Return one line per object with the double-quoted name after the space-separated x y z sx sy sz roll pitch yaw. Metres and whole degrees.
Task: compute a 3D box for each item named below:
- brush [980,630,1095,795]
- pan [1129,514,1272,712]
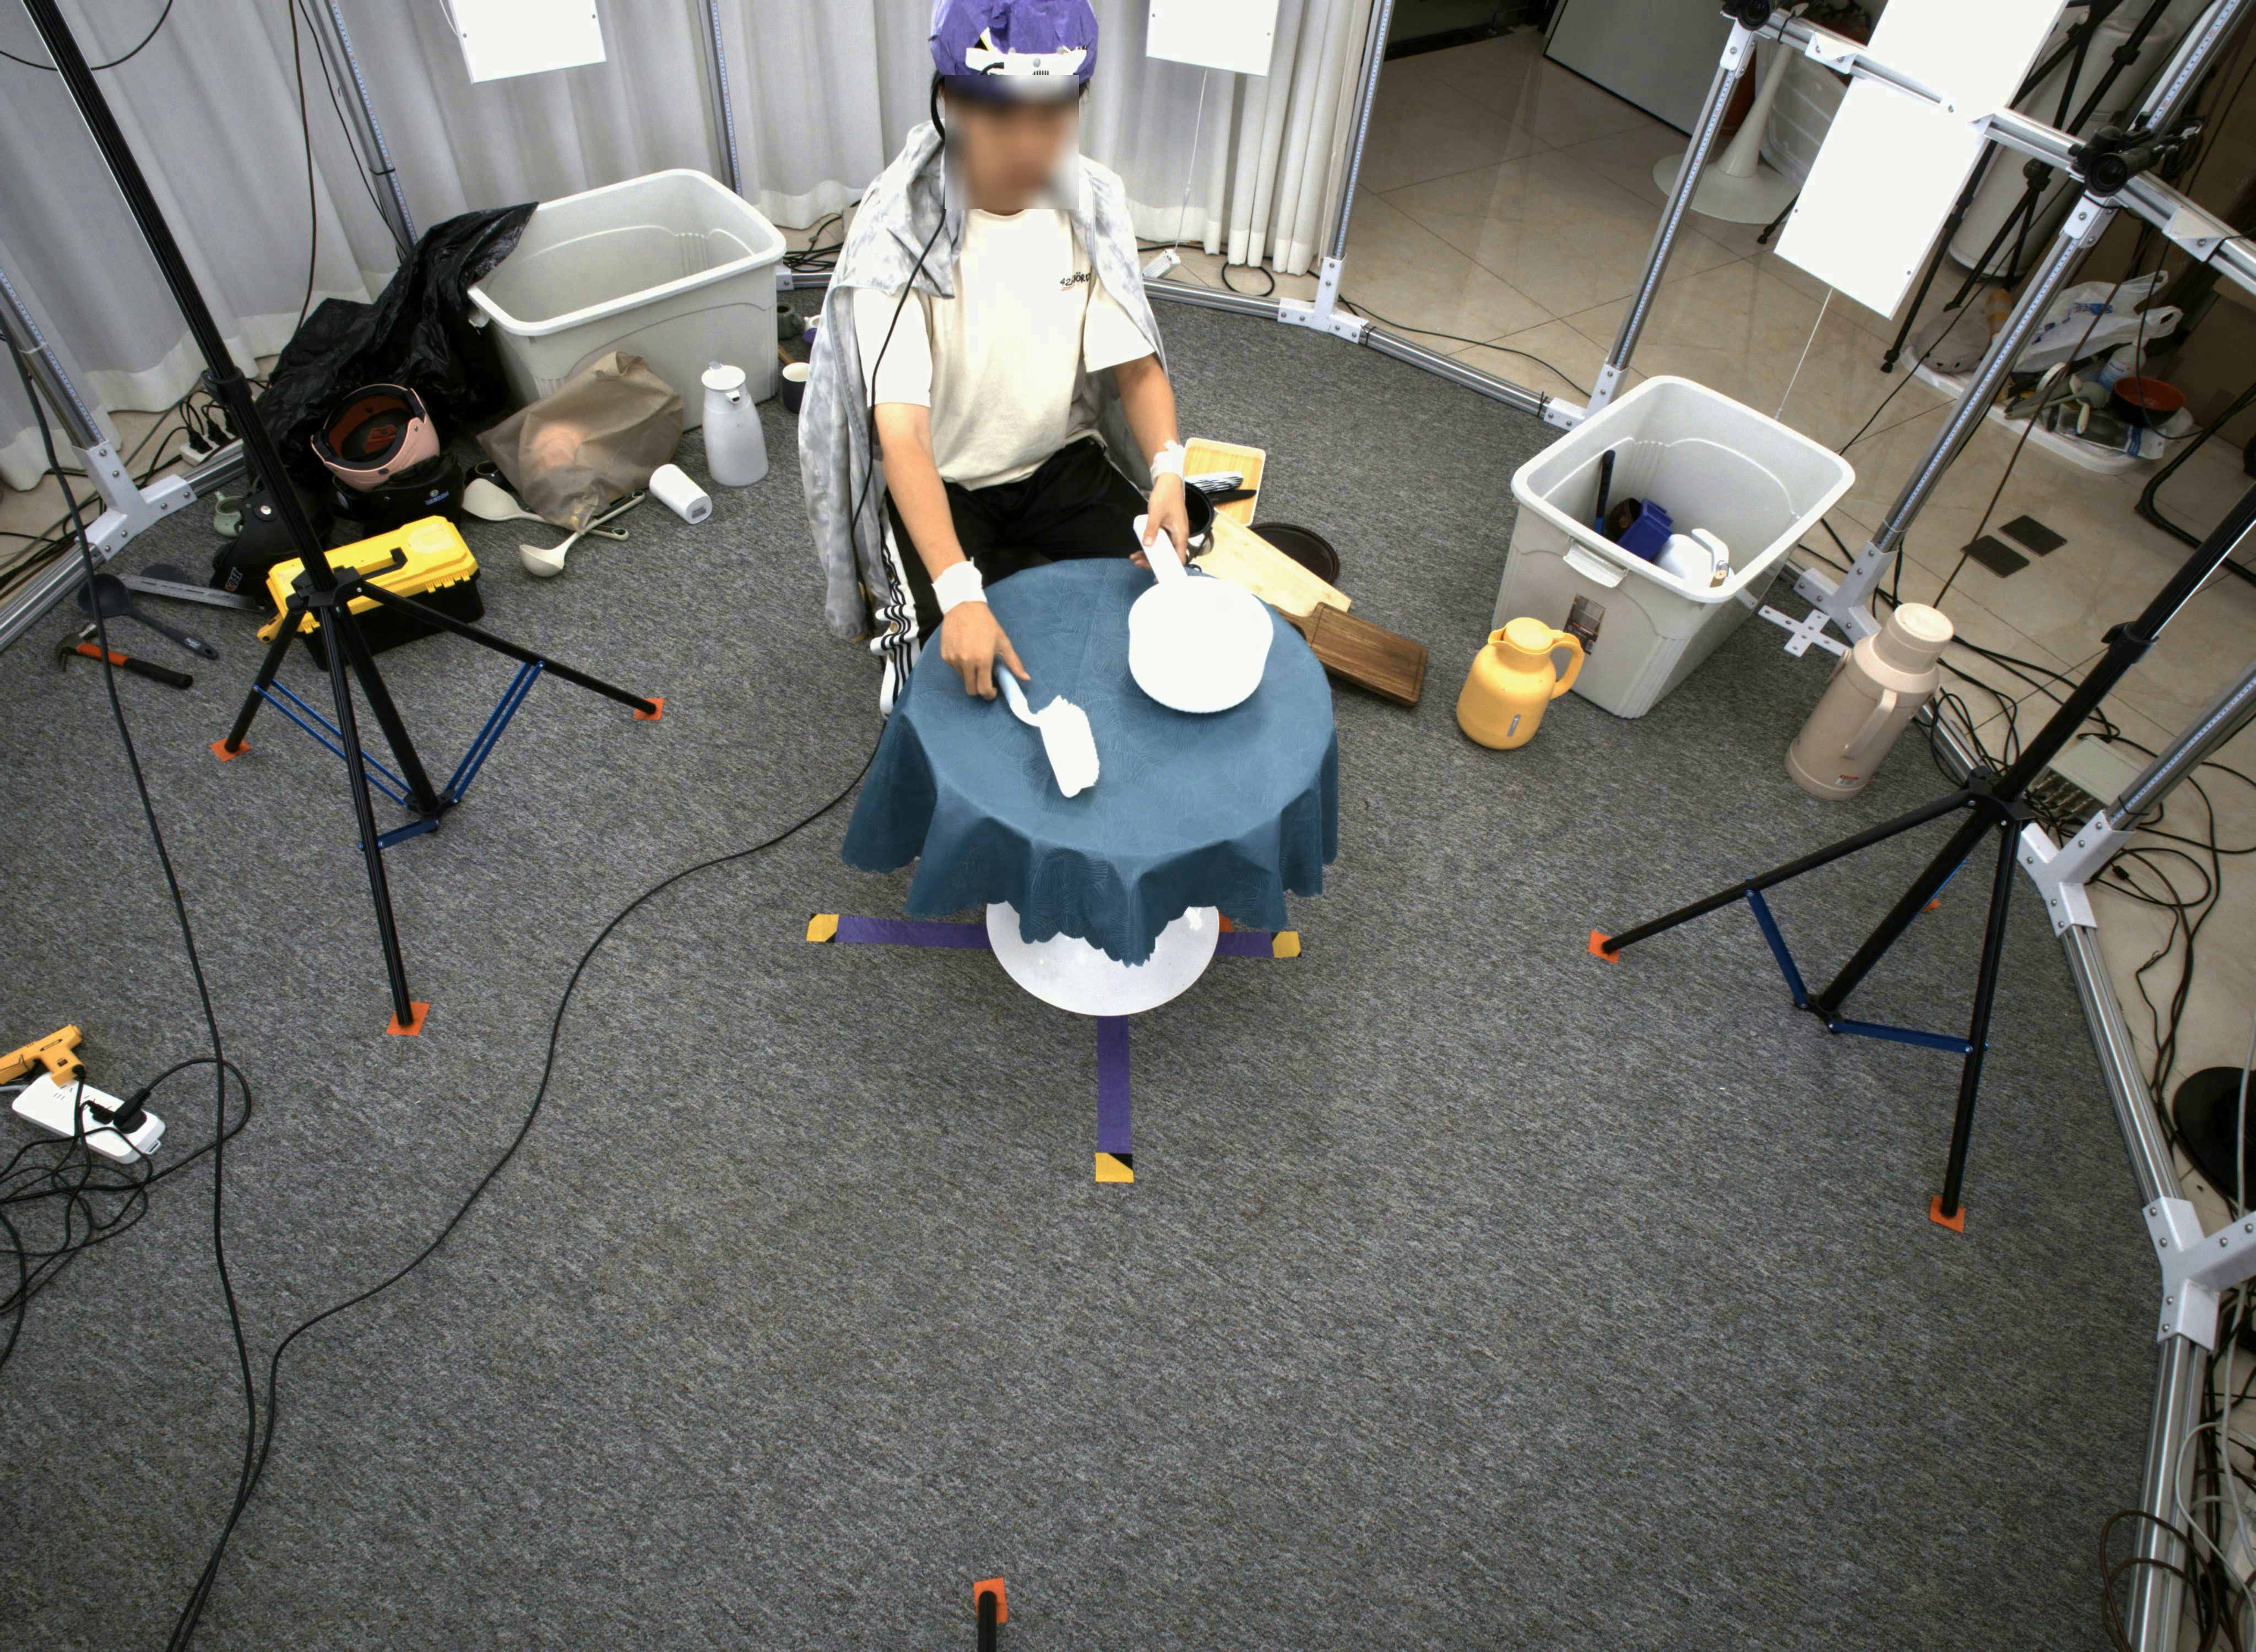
-0.120 -0.181 1.757 0.084 0.081 0.333 -19 53 -12 "brush"
0.077 -0.310 1.872 0.201 0.099 0.363 -11 50 -13 "pan"
